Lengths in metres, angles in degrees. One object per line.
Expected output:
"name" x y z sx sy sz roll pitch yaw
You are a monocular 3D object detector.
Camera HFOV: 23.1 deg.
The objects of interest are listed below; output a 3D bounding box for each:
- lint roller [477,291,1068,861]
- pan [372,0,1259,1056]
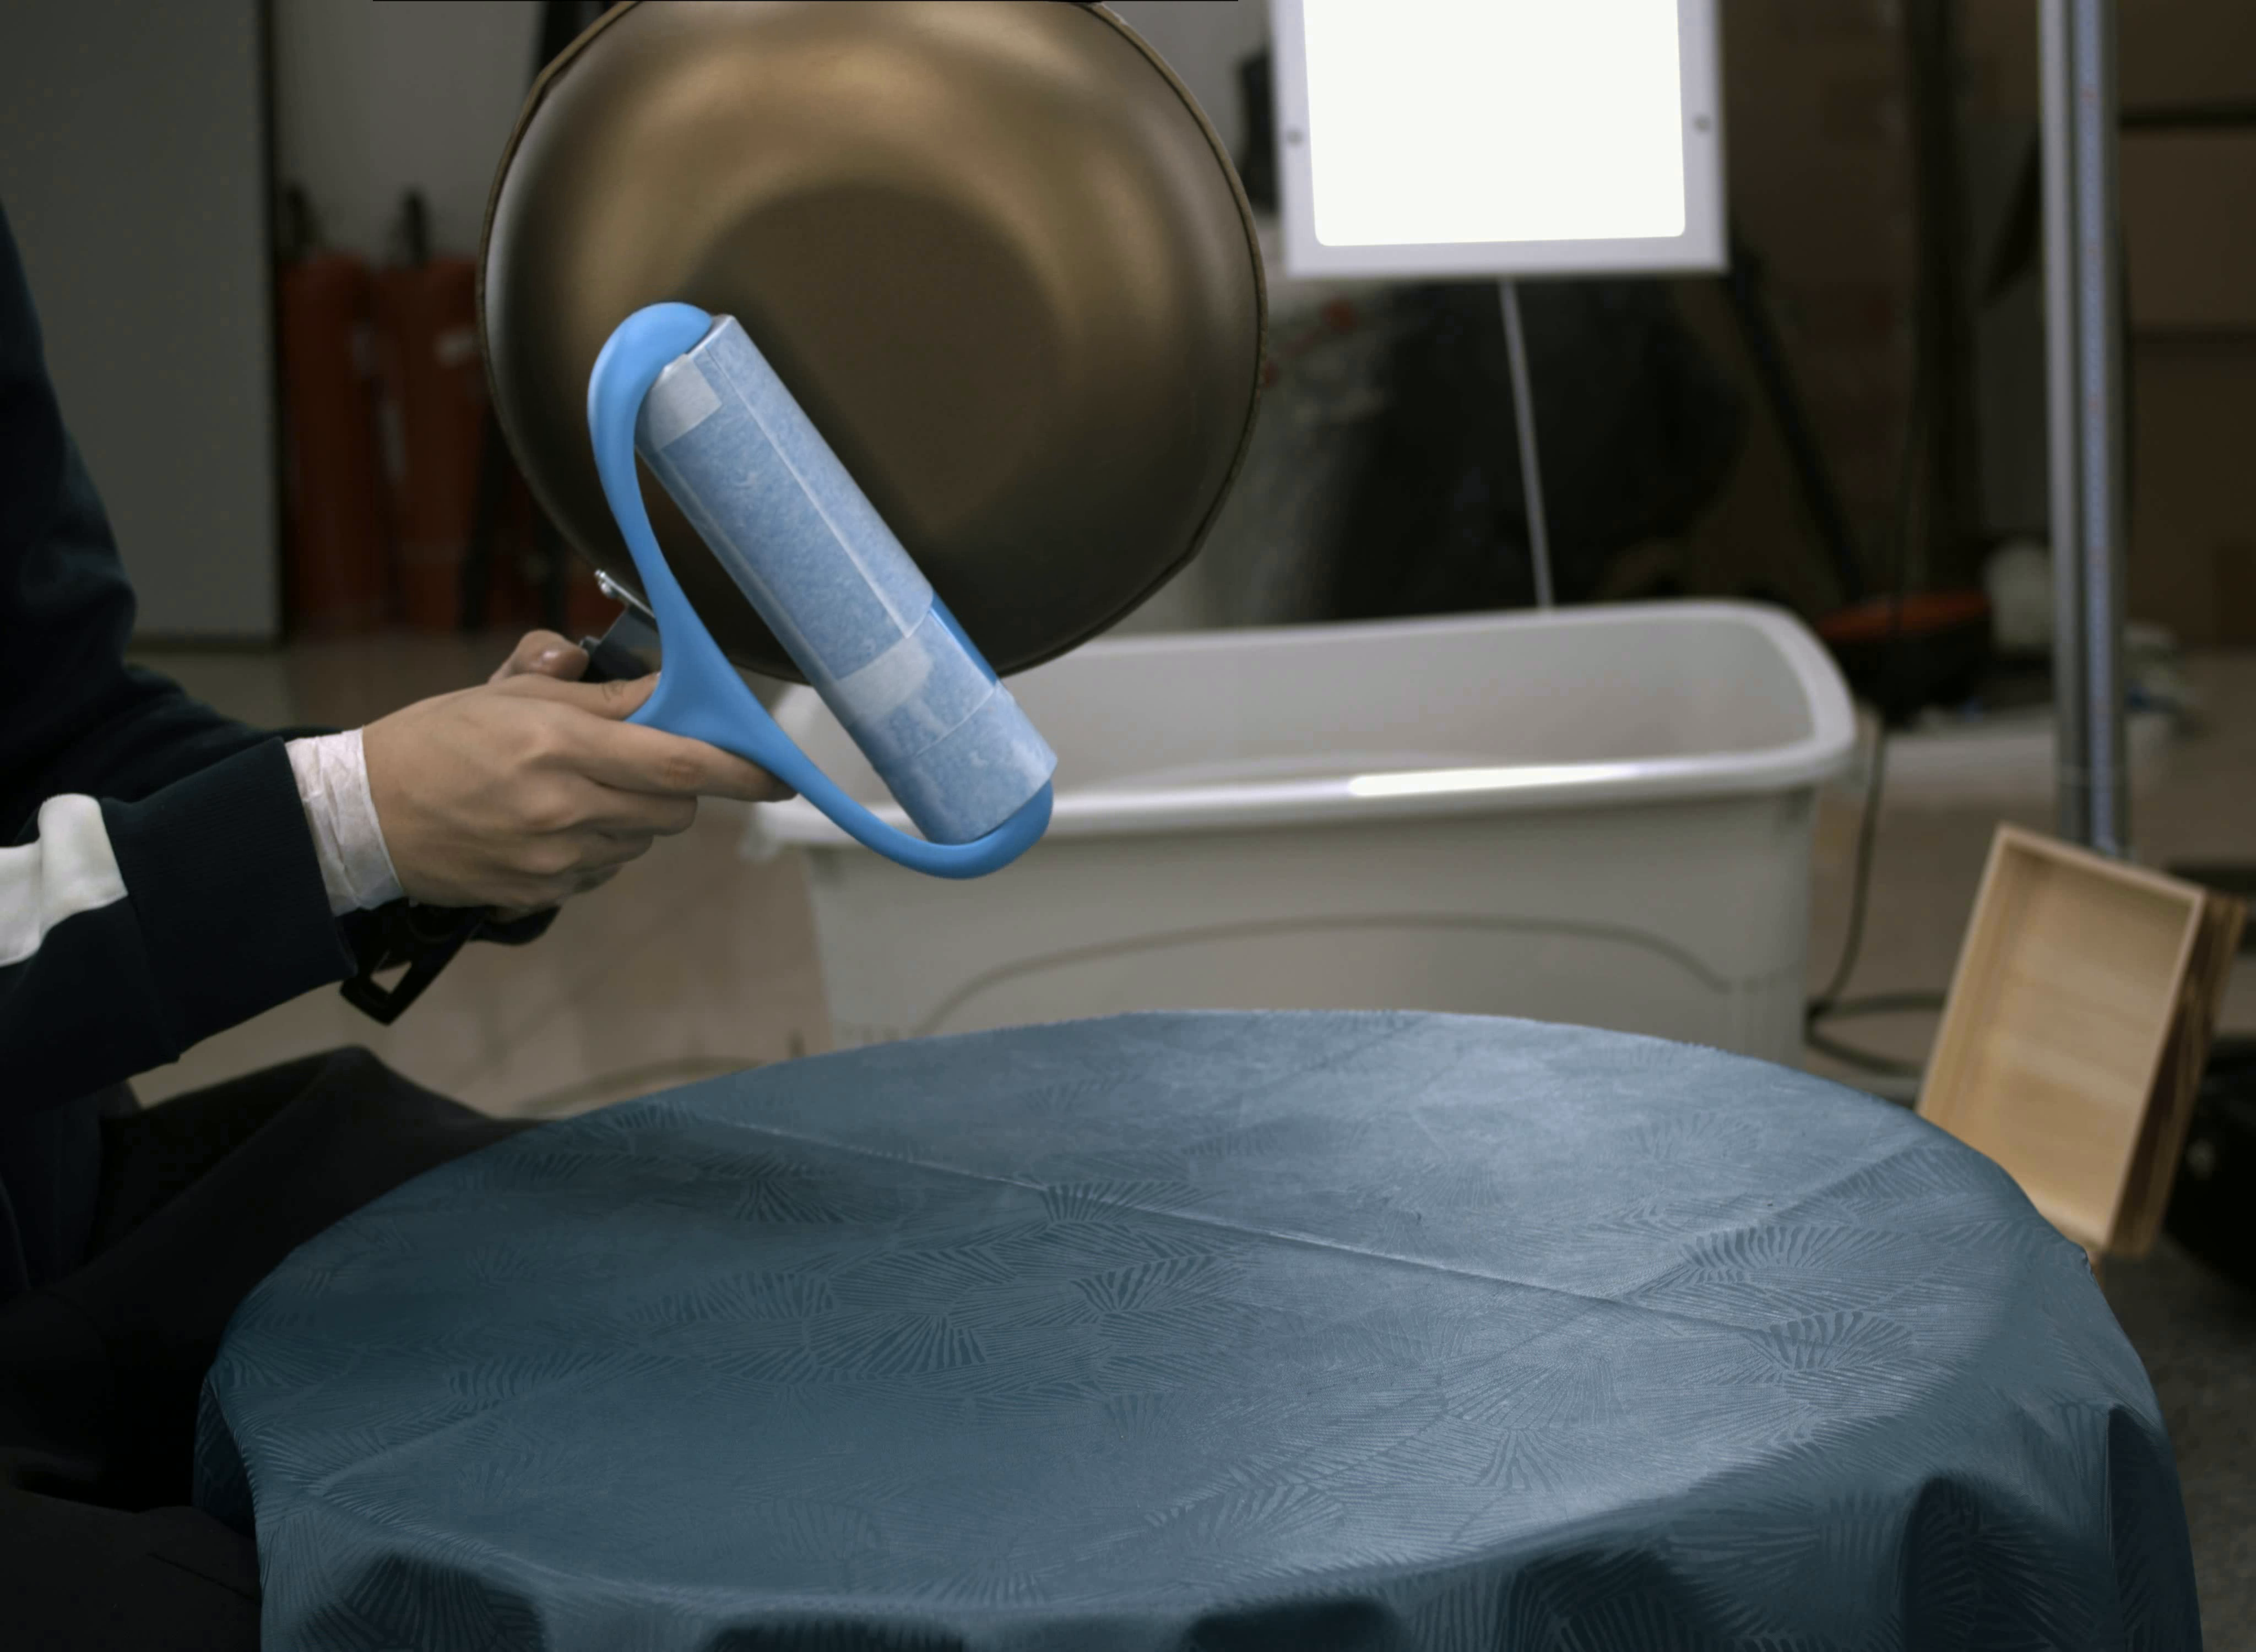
"lint roller" -0.144 -0.047 1.866 0.180 0.227 0.068 -41 16 1
"pan" -0.145 -0.099 1.933 0.286 0.468 0.086 33 16 -8
